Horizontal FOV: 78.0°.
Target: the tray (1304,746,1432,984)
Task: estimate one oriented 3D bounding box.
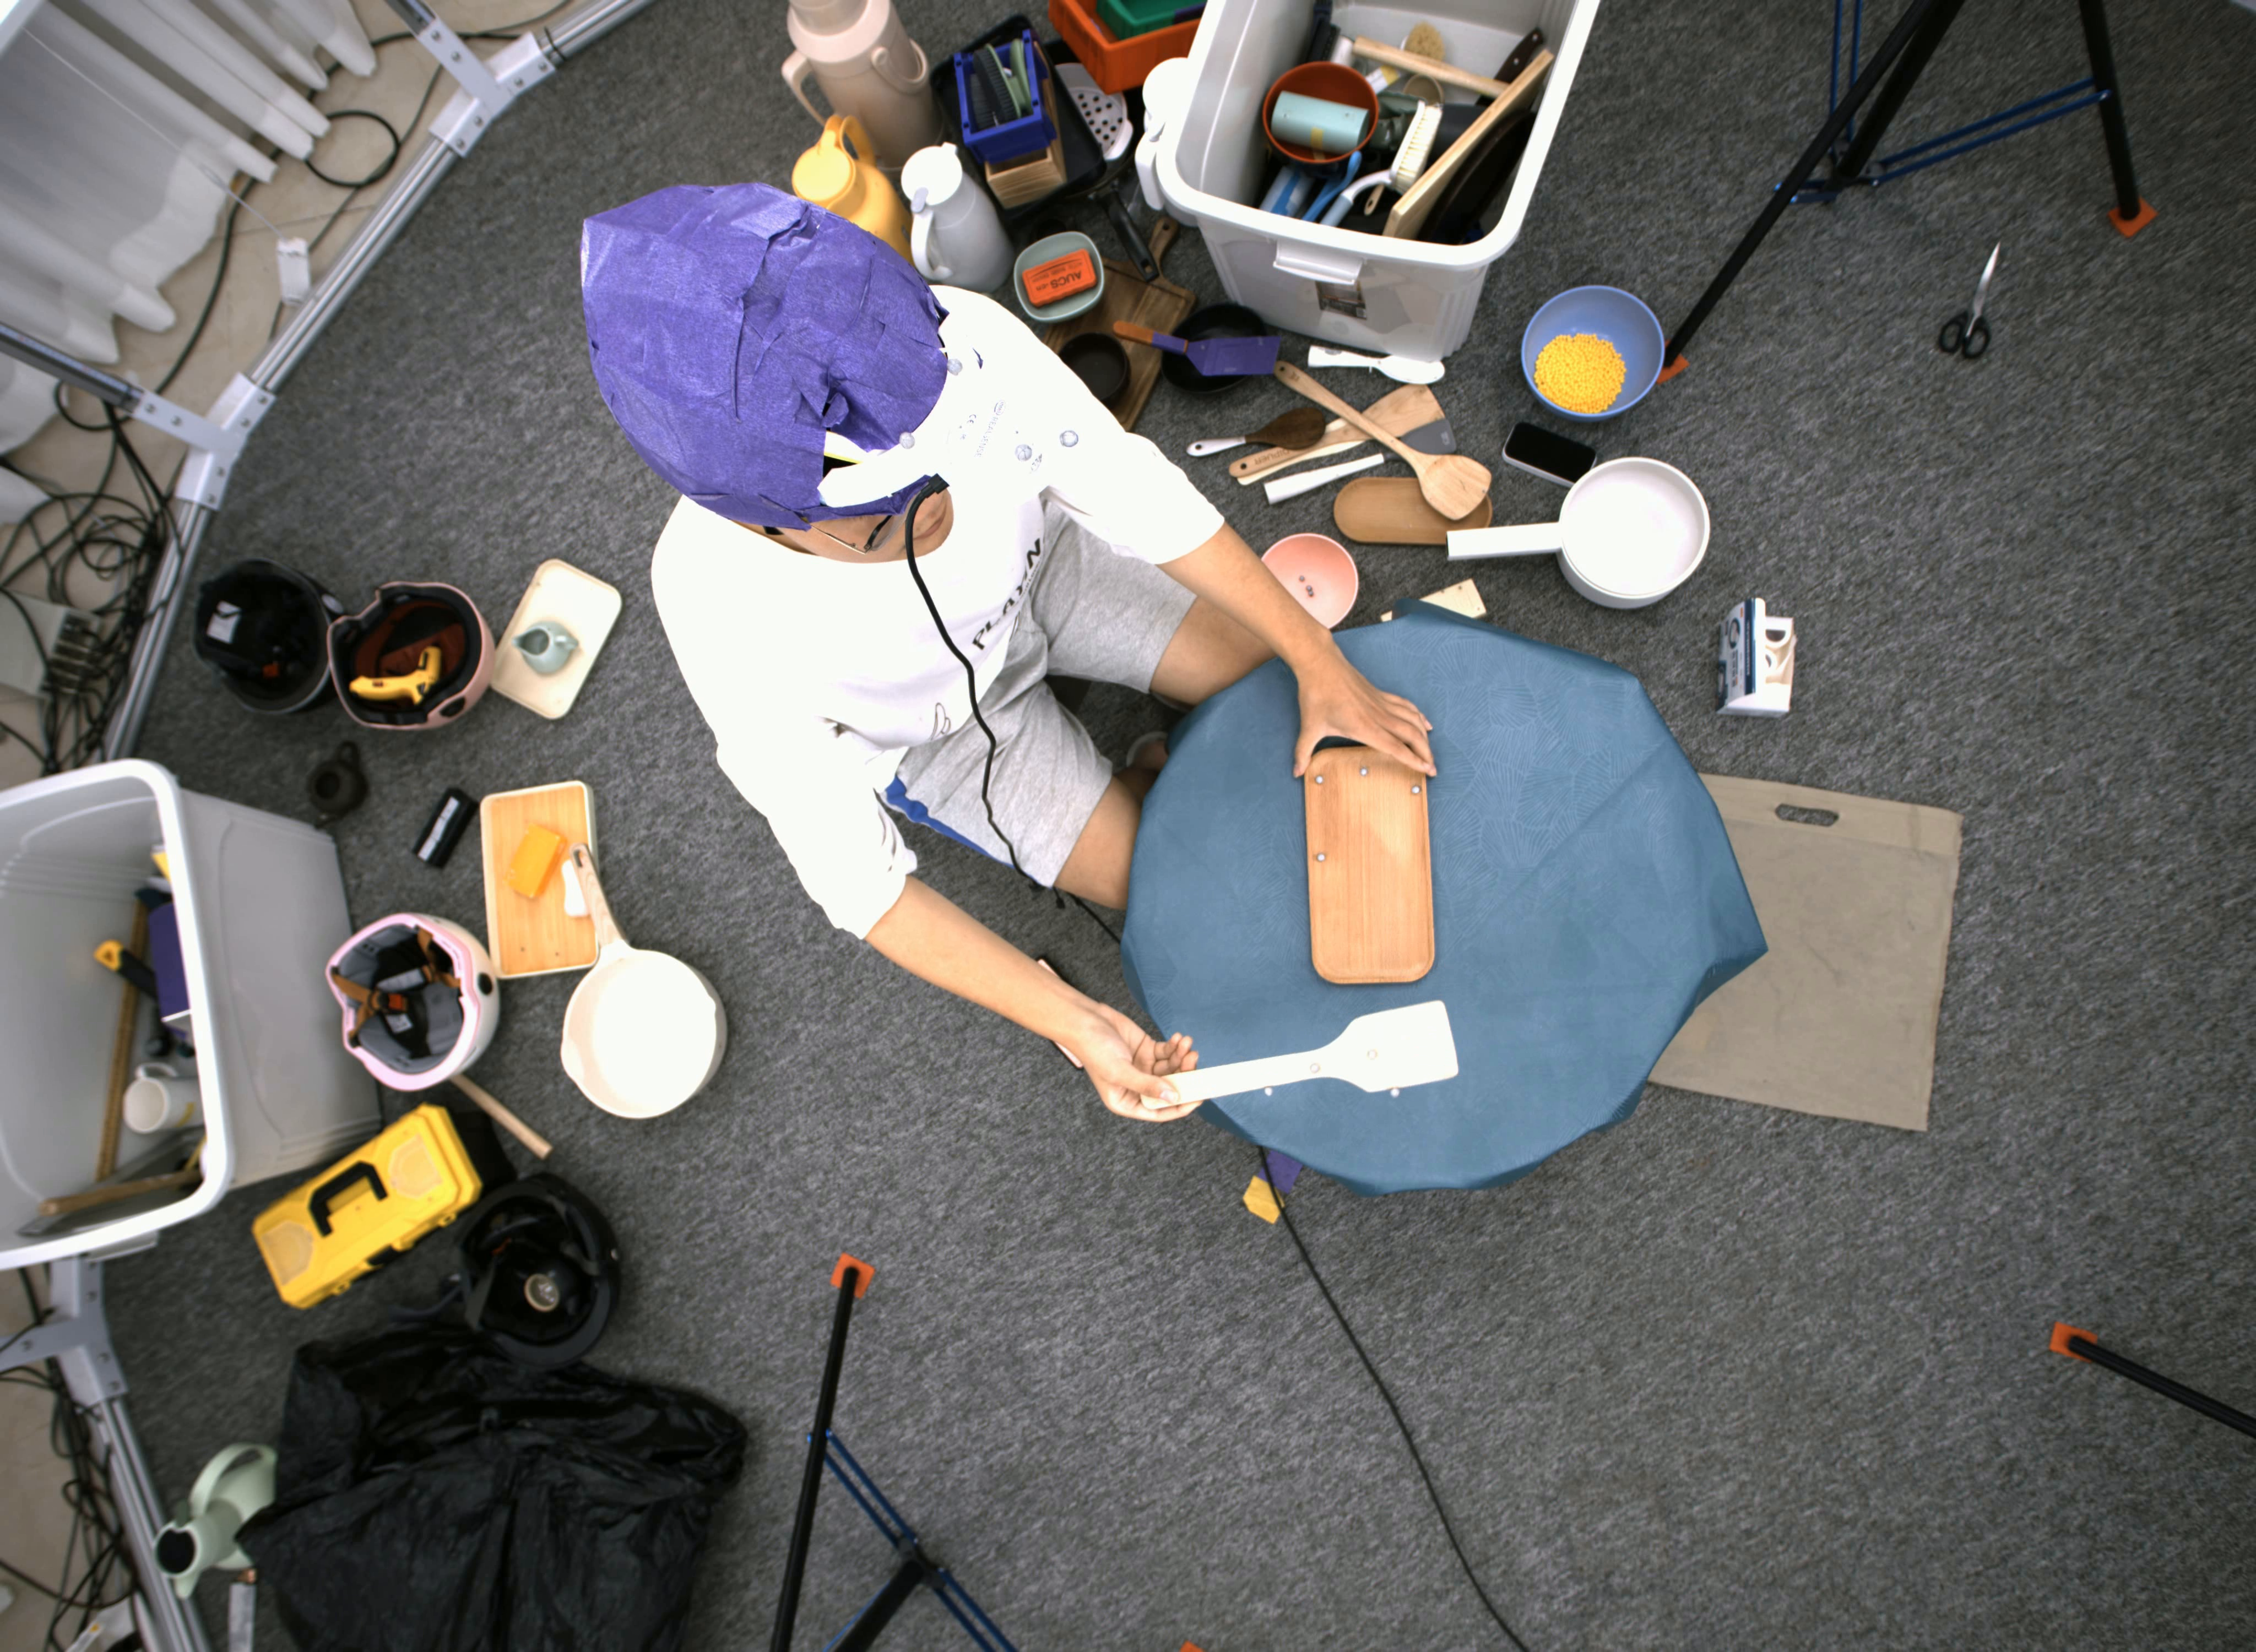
[{"bbox_3d":[0.253,0.039,1.457,0.131,0.023,0.249,-1,87,13],"label":"tray"}]

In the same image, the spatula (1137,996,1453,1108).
[{"bbox_3d":[0.150,0.220,1.280,0.295,0.011,0.071,-14,78,11],"label":"spatula"}]
